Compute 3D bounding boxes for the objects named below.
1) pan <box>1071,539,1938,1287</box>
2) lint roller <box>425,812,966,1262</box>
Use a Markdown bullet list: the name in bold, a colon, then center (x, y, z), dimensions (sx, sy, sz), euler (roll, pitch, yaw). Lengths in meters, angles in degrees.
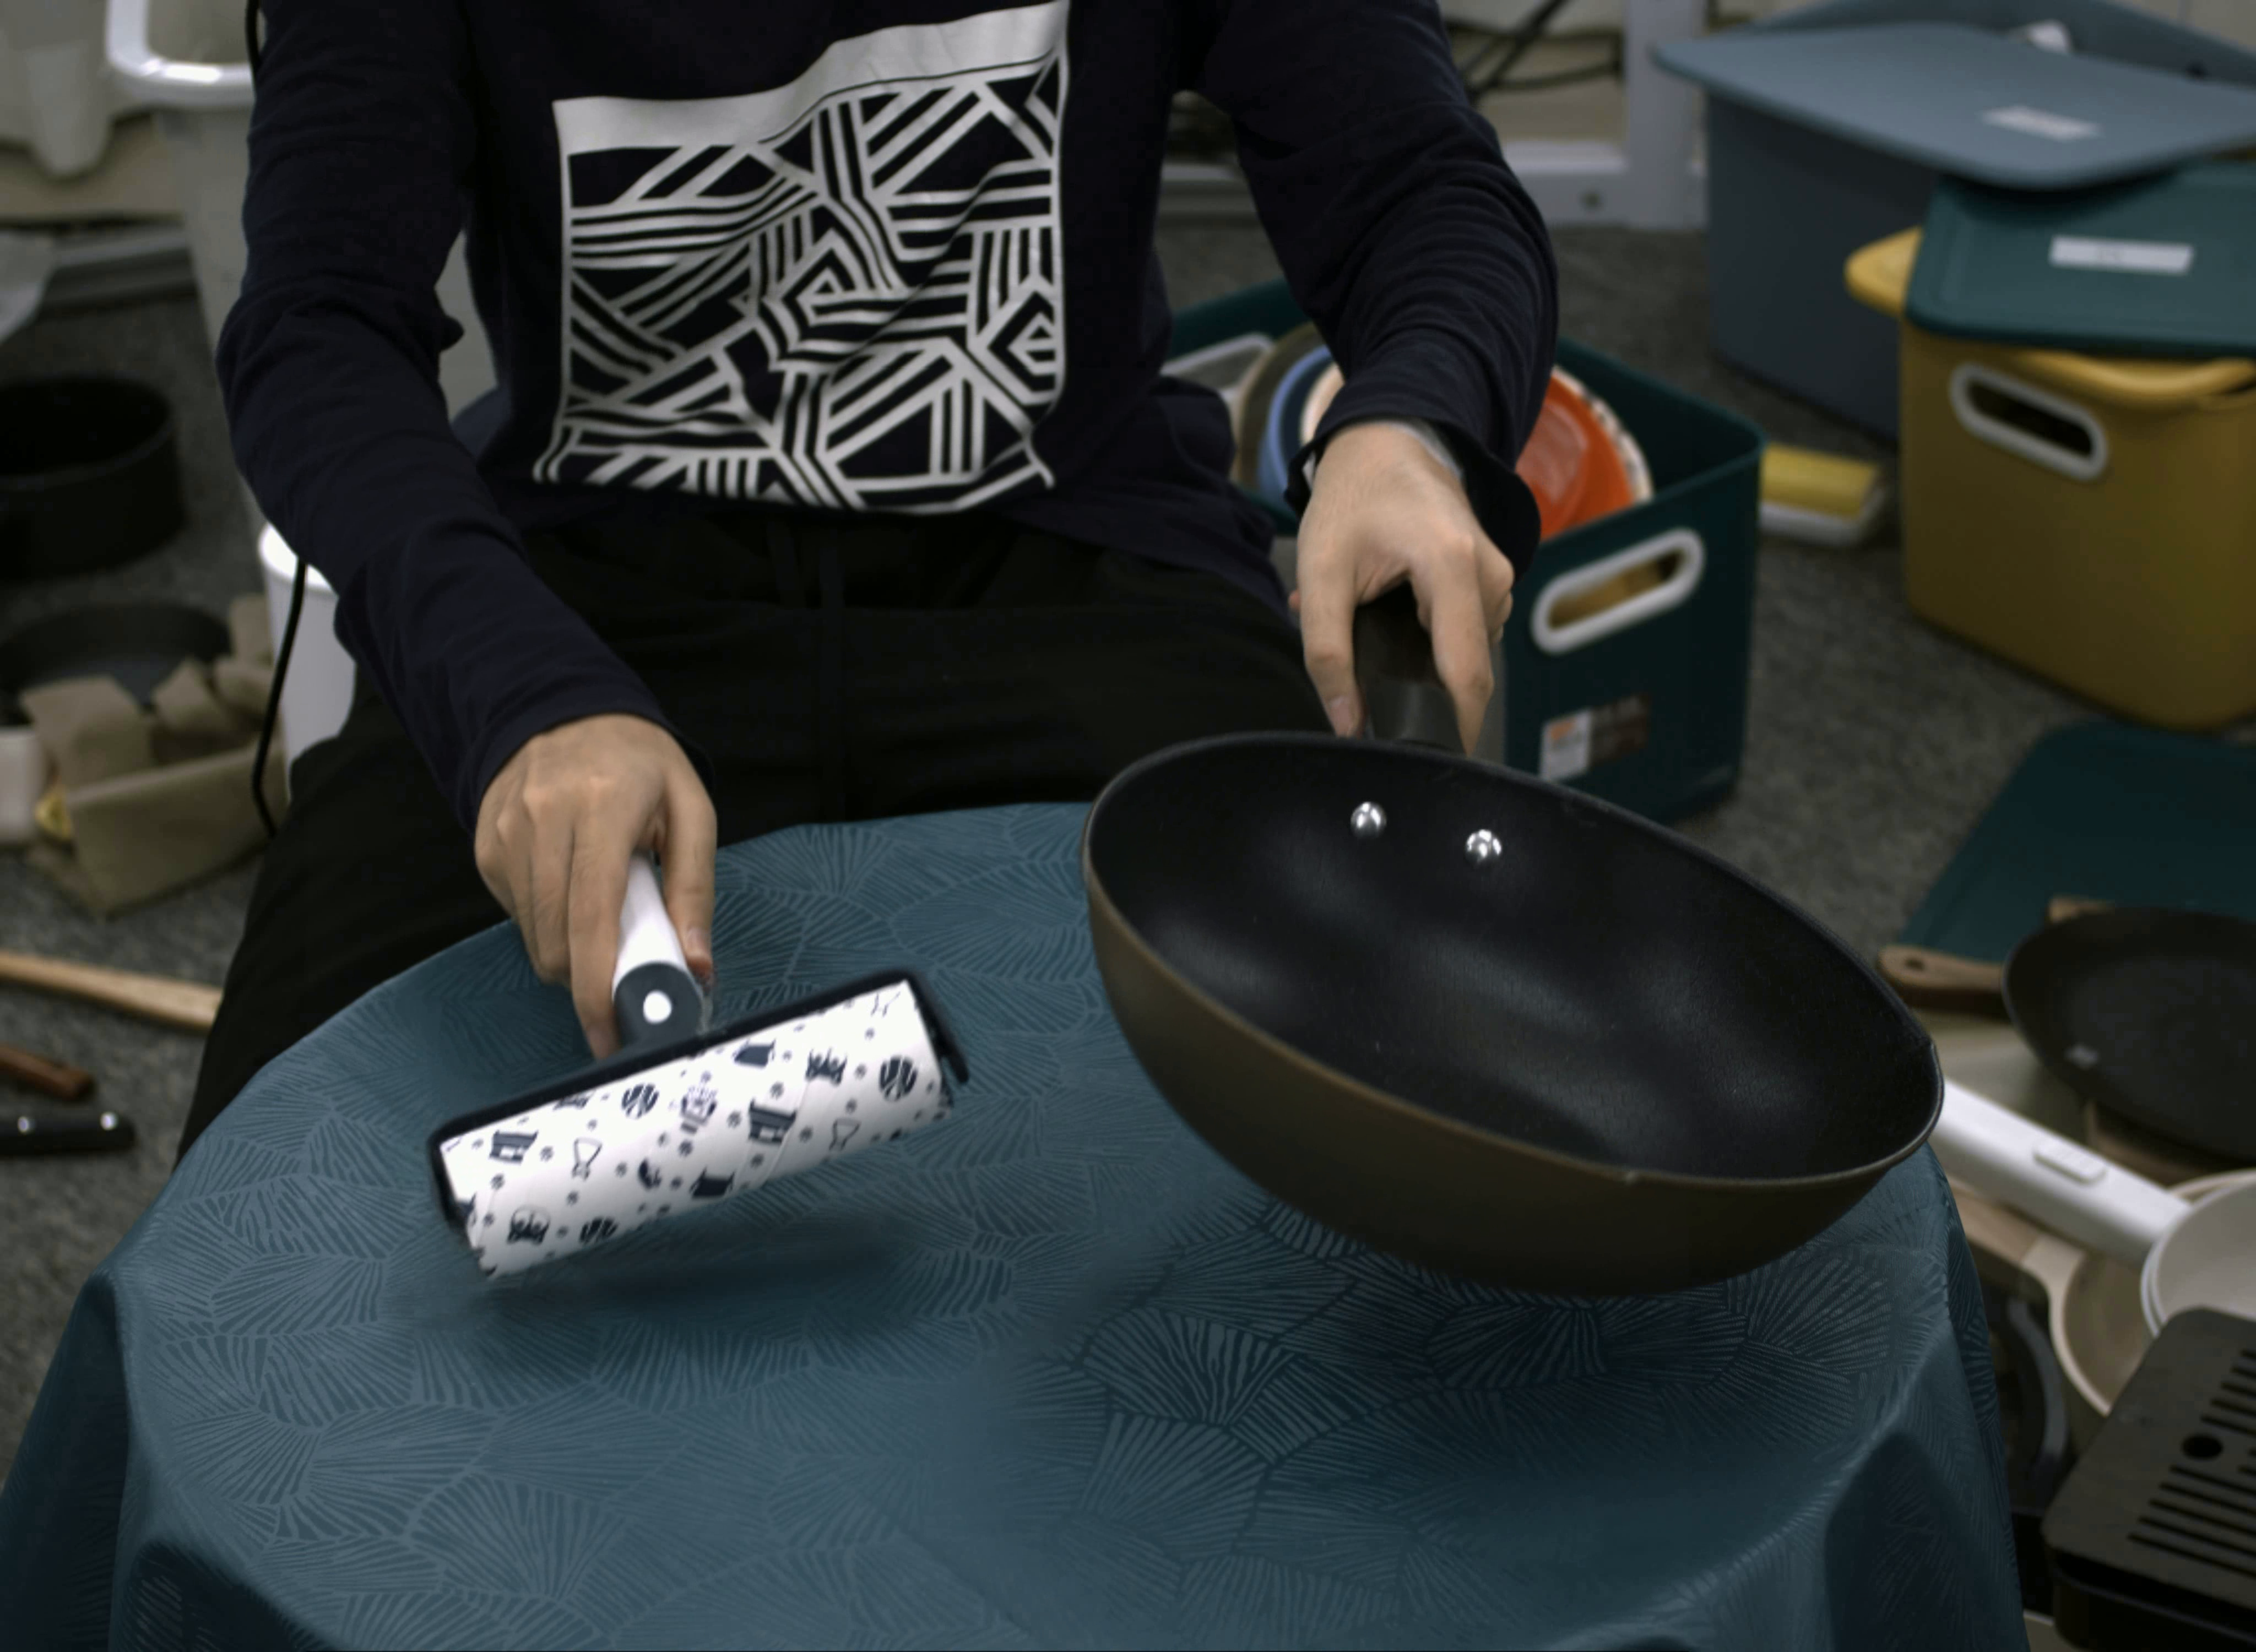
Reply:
- **pan**: center (0.099, 0.027, 1.853), dimensions (0.287, 0.086, 0.469), euler (13, 23, -13)
- **lint roller**: center (-0.163, 0.049, 1.897), dimensions (0.176, 0.050, 0.249), euler (-20, 29, -6)
